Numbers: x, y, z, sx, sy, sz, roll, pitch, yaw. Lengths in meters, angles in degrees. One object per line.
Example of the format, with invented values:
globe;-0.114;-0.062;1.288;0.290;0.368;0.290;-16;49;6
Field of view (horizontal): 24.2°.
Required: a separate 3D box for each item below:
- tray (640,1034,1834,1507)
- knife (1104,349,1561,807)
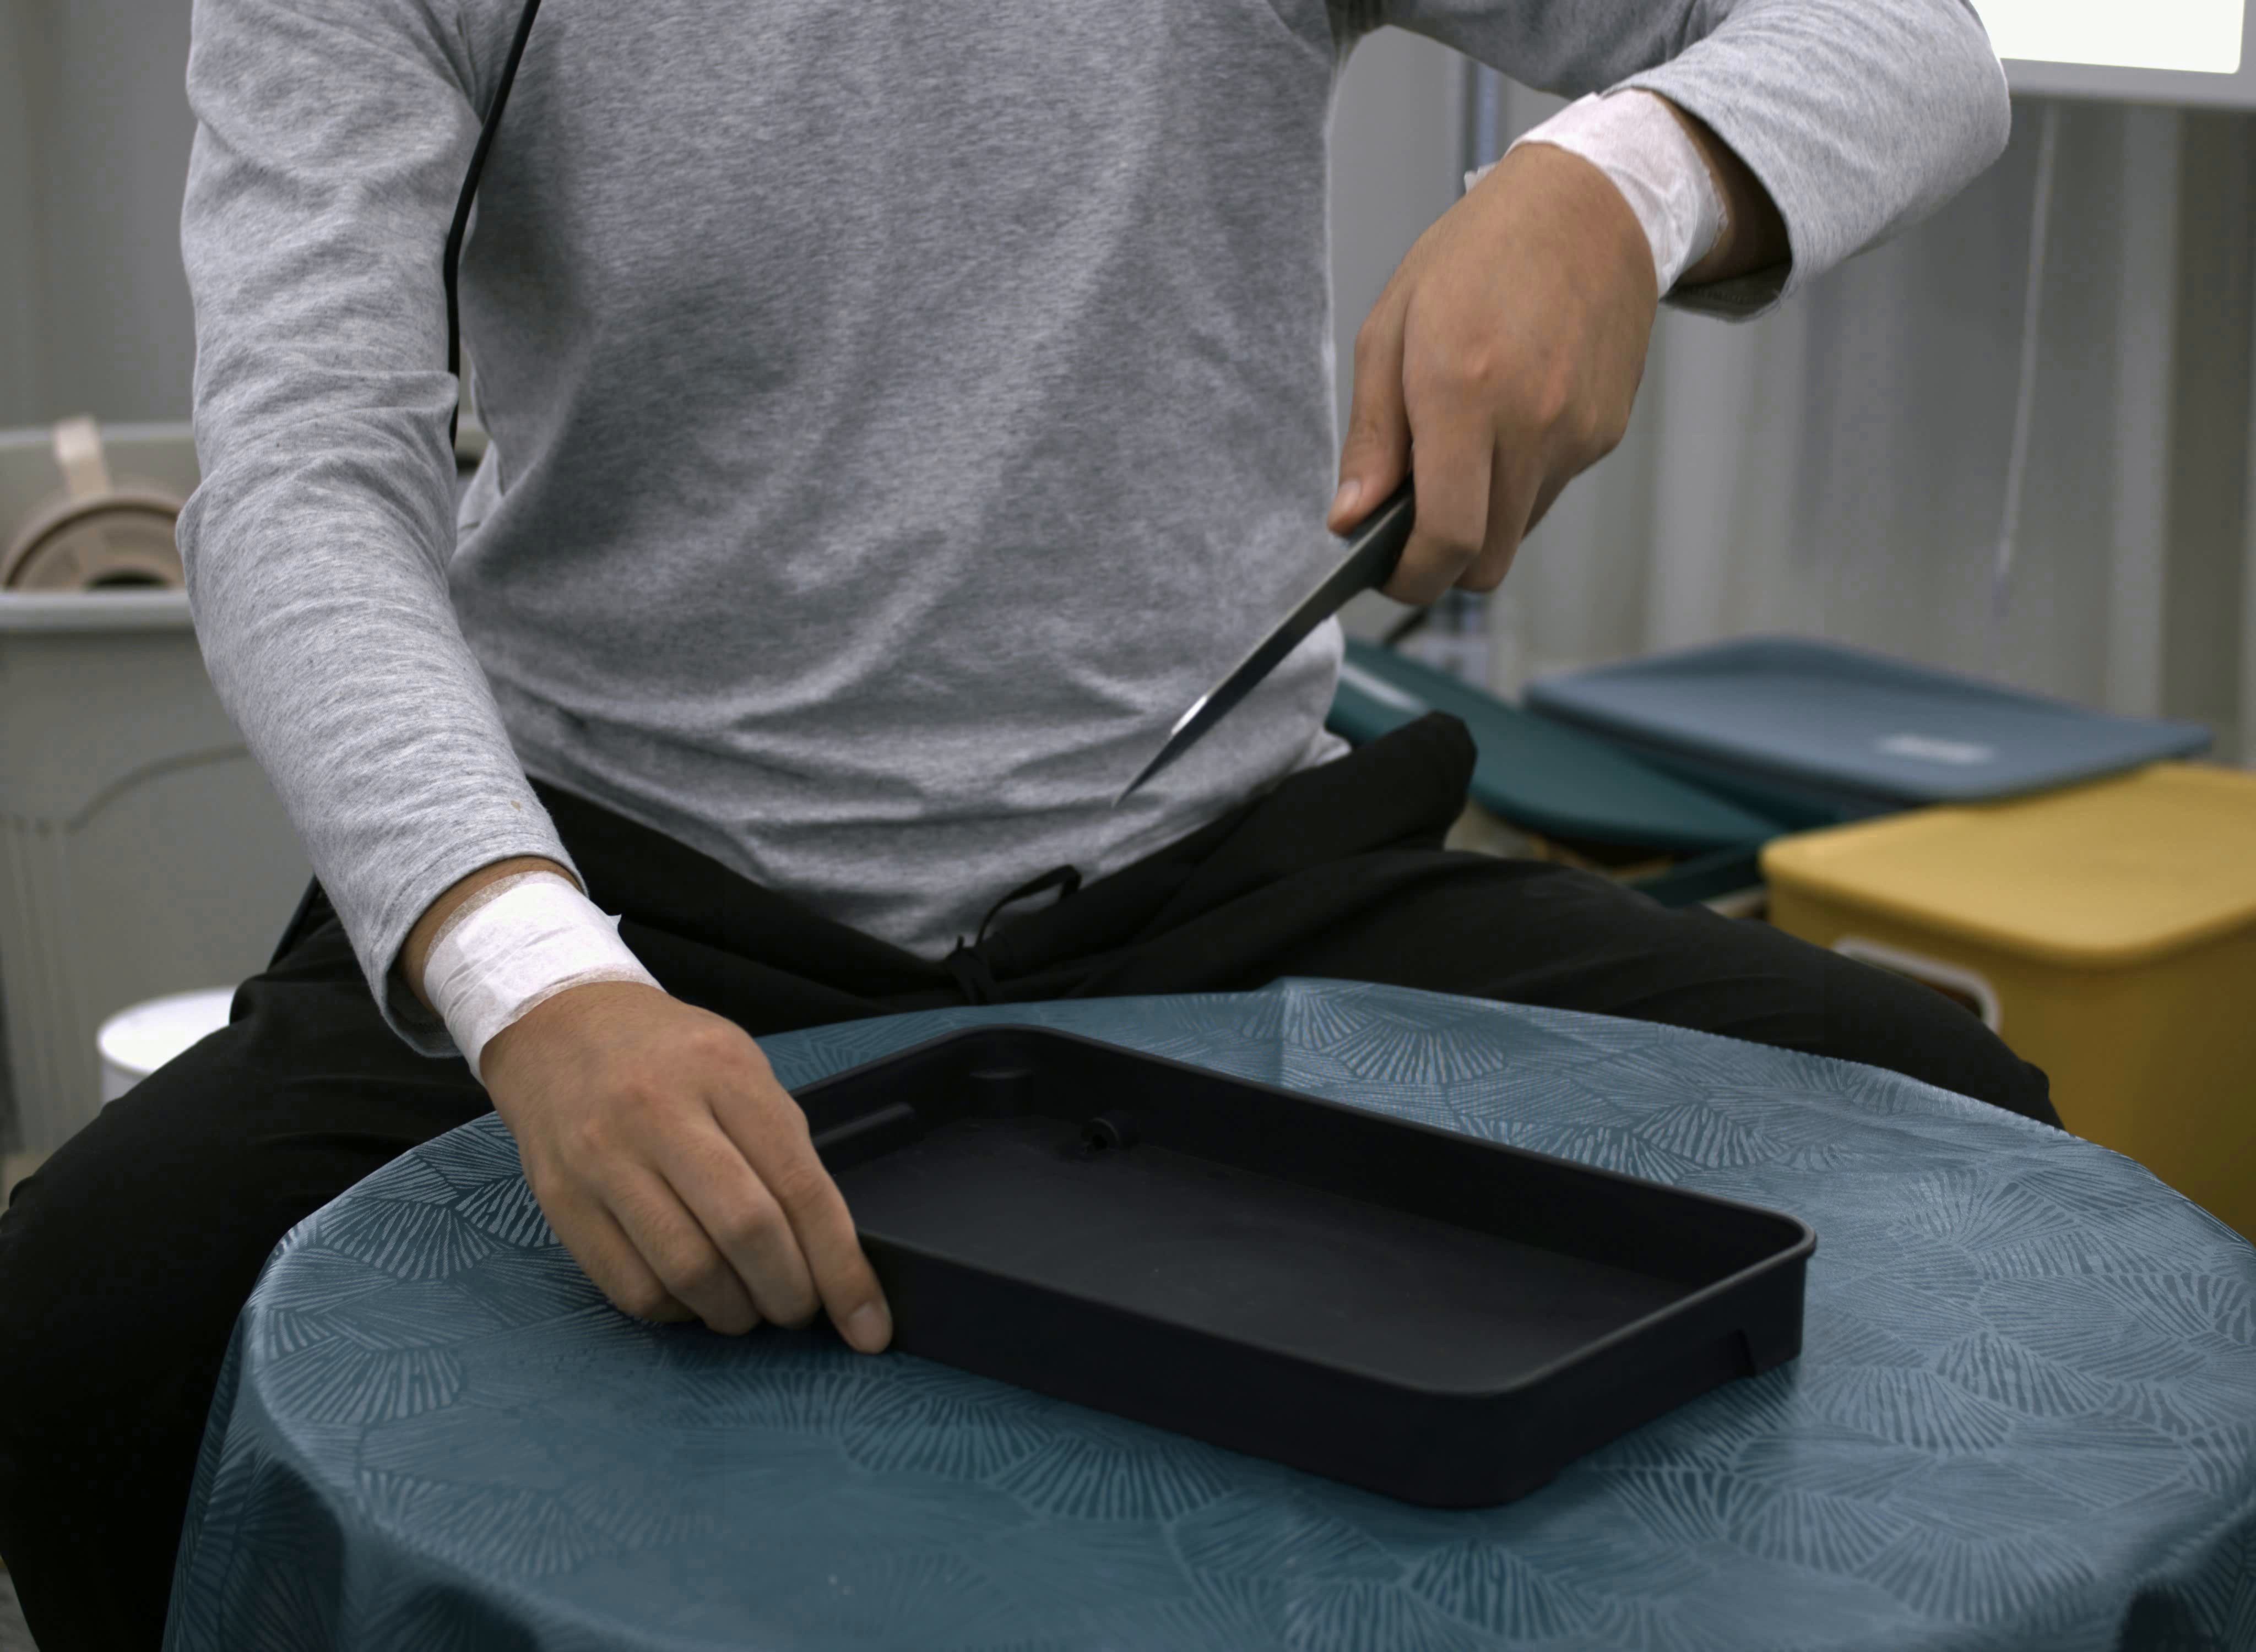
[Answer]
tray;0.029;0.123;1.523;0.314;0.037;0.185;11;18;35
knife;0.061;-0.075;1.539;0.016;0.024;0.238;32;51;17
